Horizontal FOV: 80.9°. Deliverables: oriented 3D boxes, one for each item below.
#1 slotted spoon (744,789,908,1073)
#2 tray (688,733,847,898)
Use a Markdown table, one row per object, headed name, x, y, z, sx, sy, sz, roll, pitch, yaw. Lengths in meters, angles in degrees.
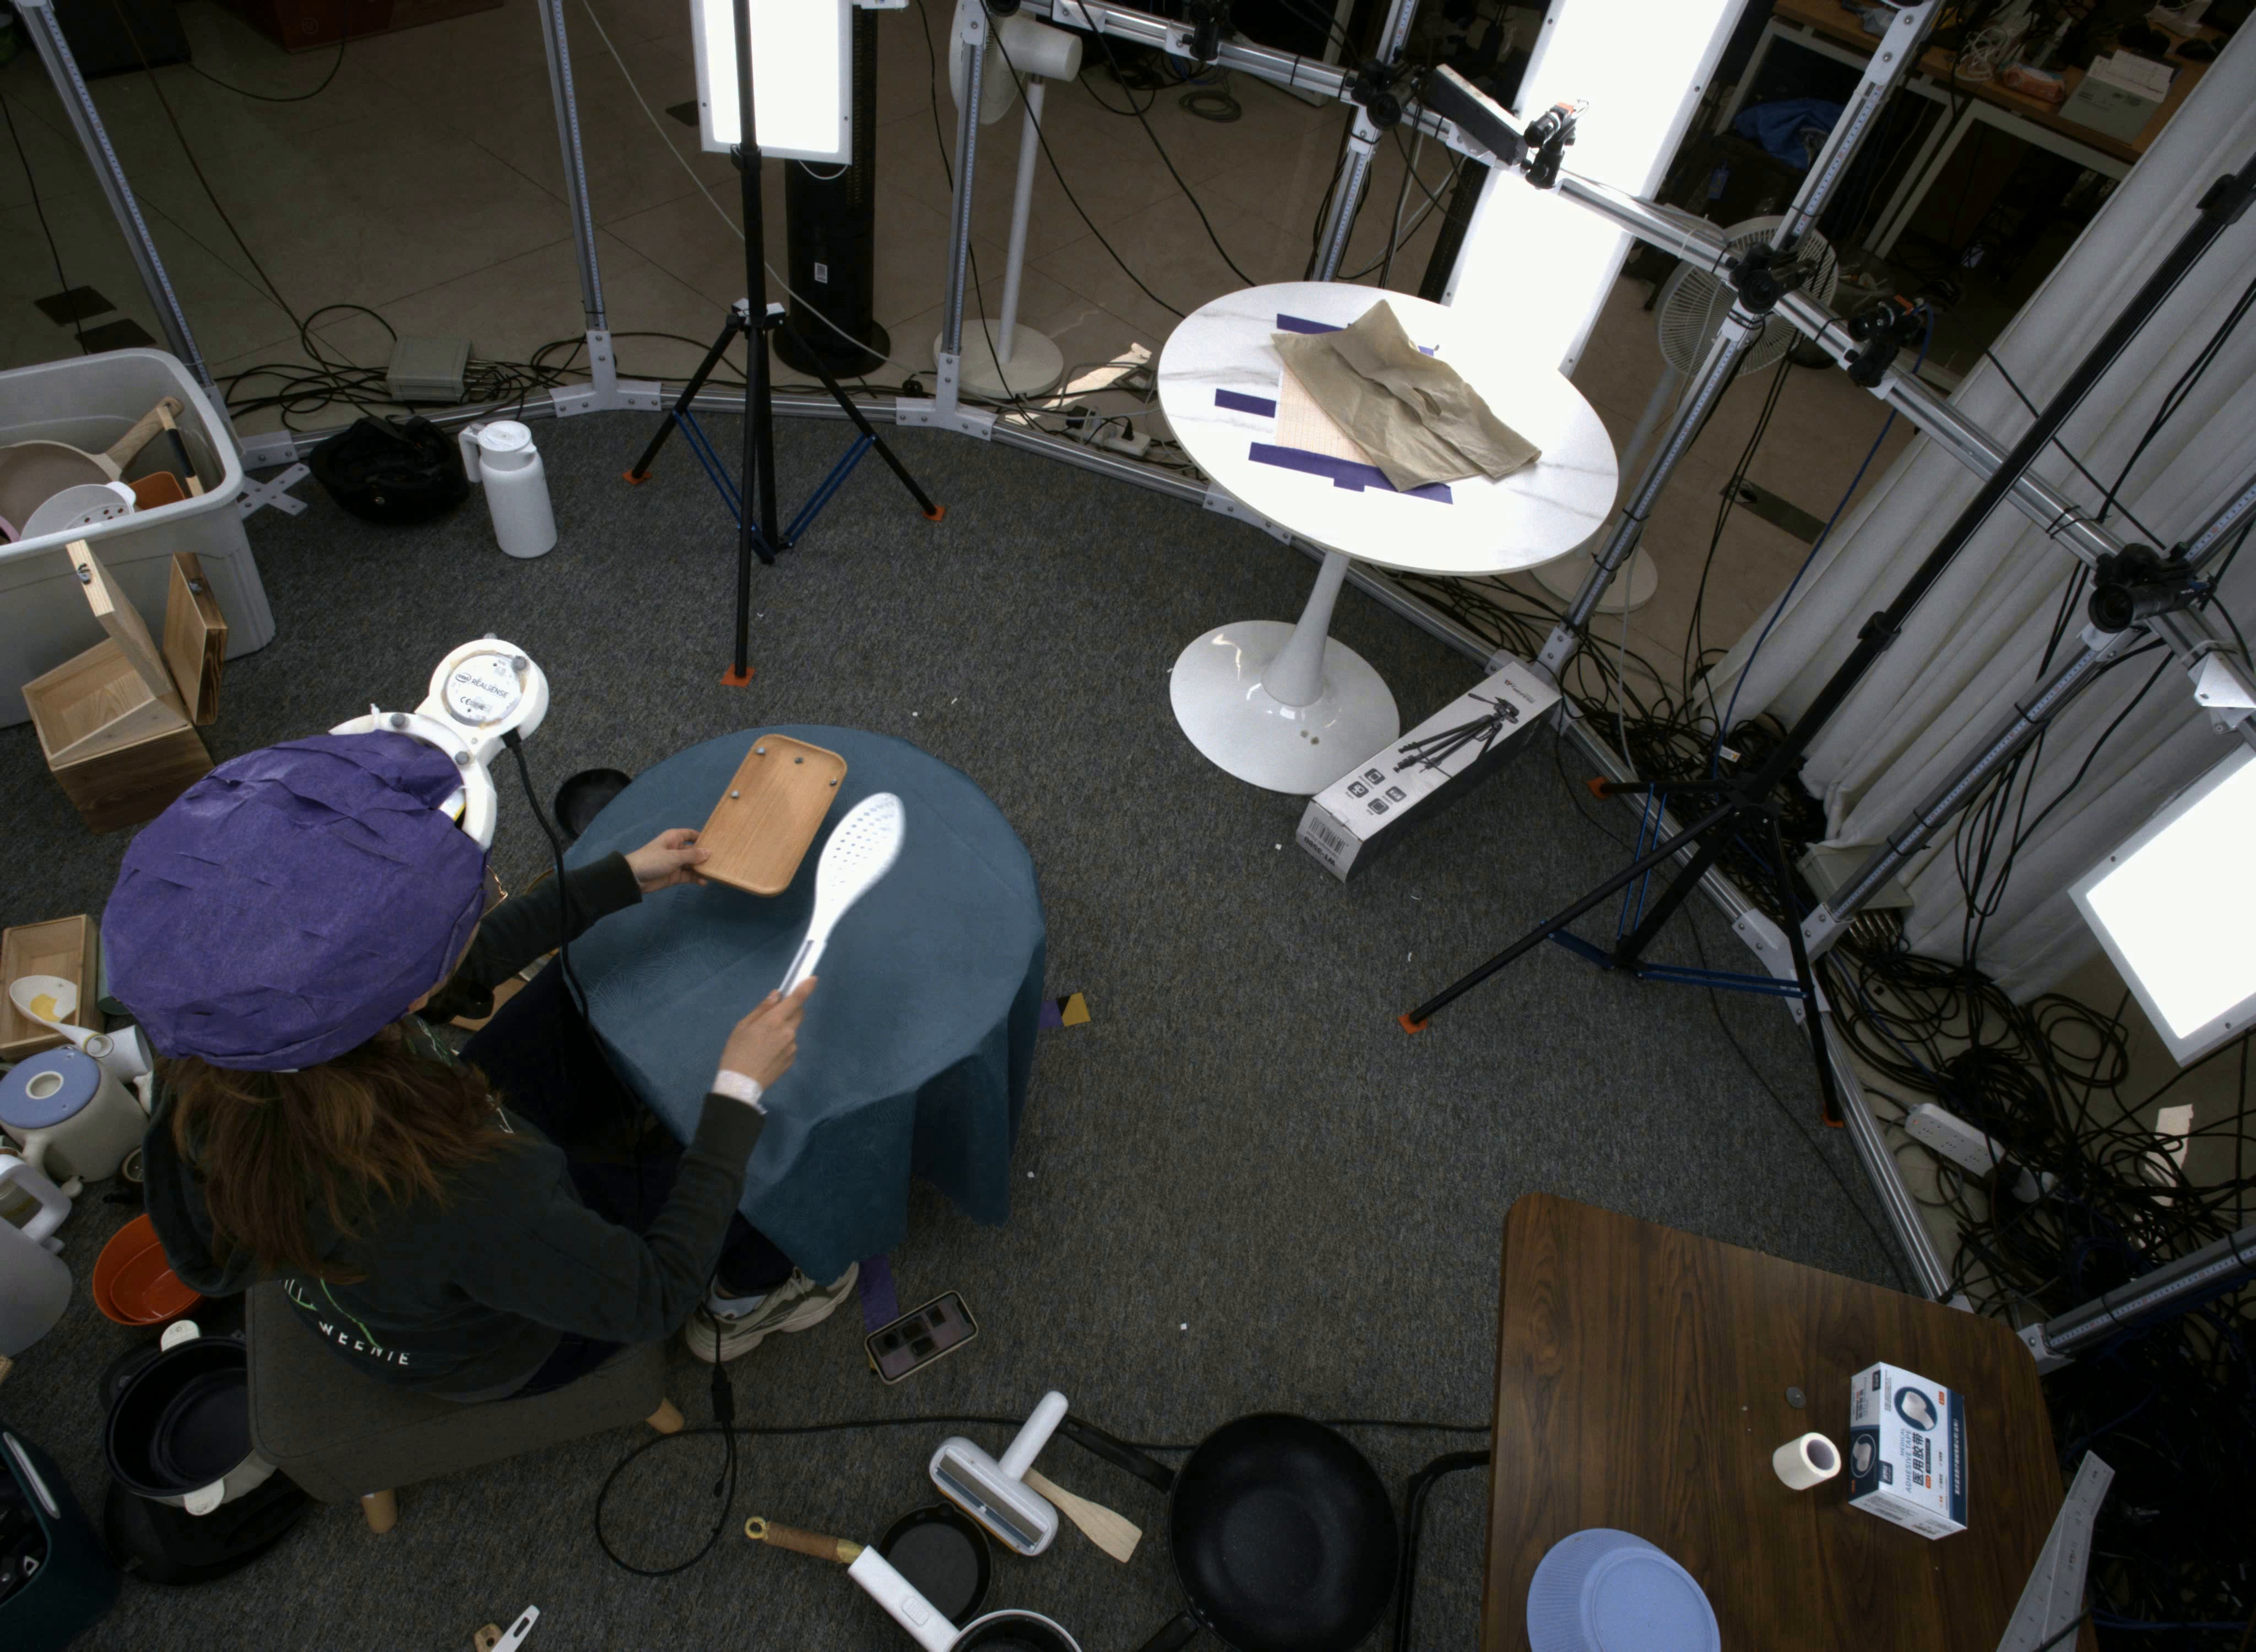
| name | x | y | z | sx | sy | sz | roll | pitch | yaw |
| --- | --- | --- | --- | --- | --- | --- | --- | --- | --- |
| slotted spoon | -0.340 | 0.111 | 1.459 | 0.131 | 0.047 | 0.349 | 2 | 56 | 45 |
| tray | -0.452 | -0.017 | 1.633 | 0.129 | 0.023 | 0.247 | 18 | 49 | -1 |
